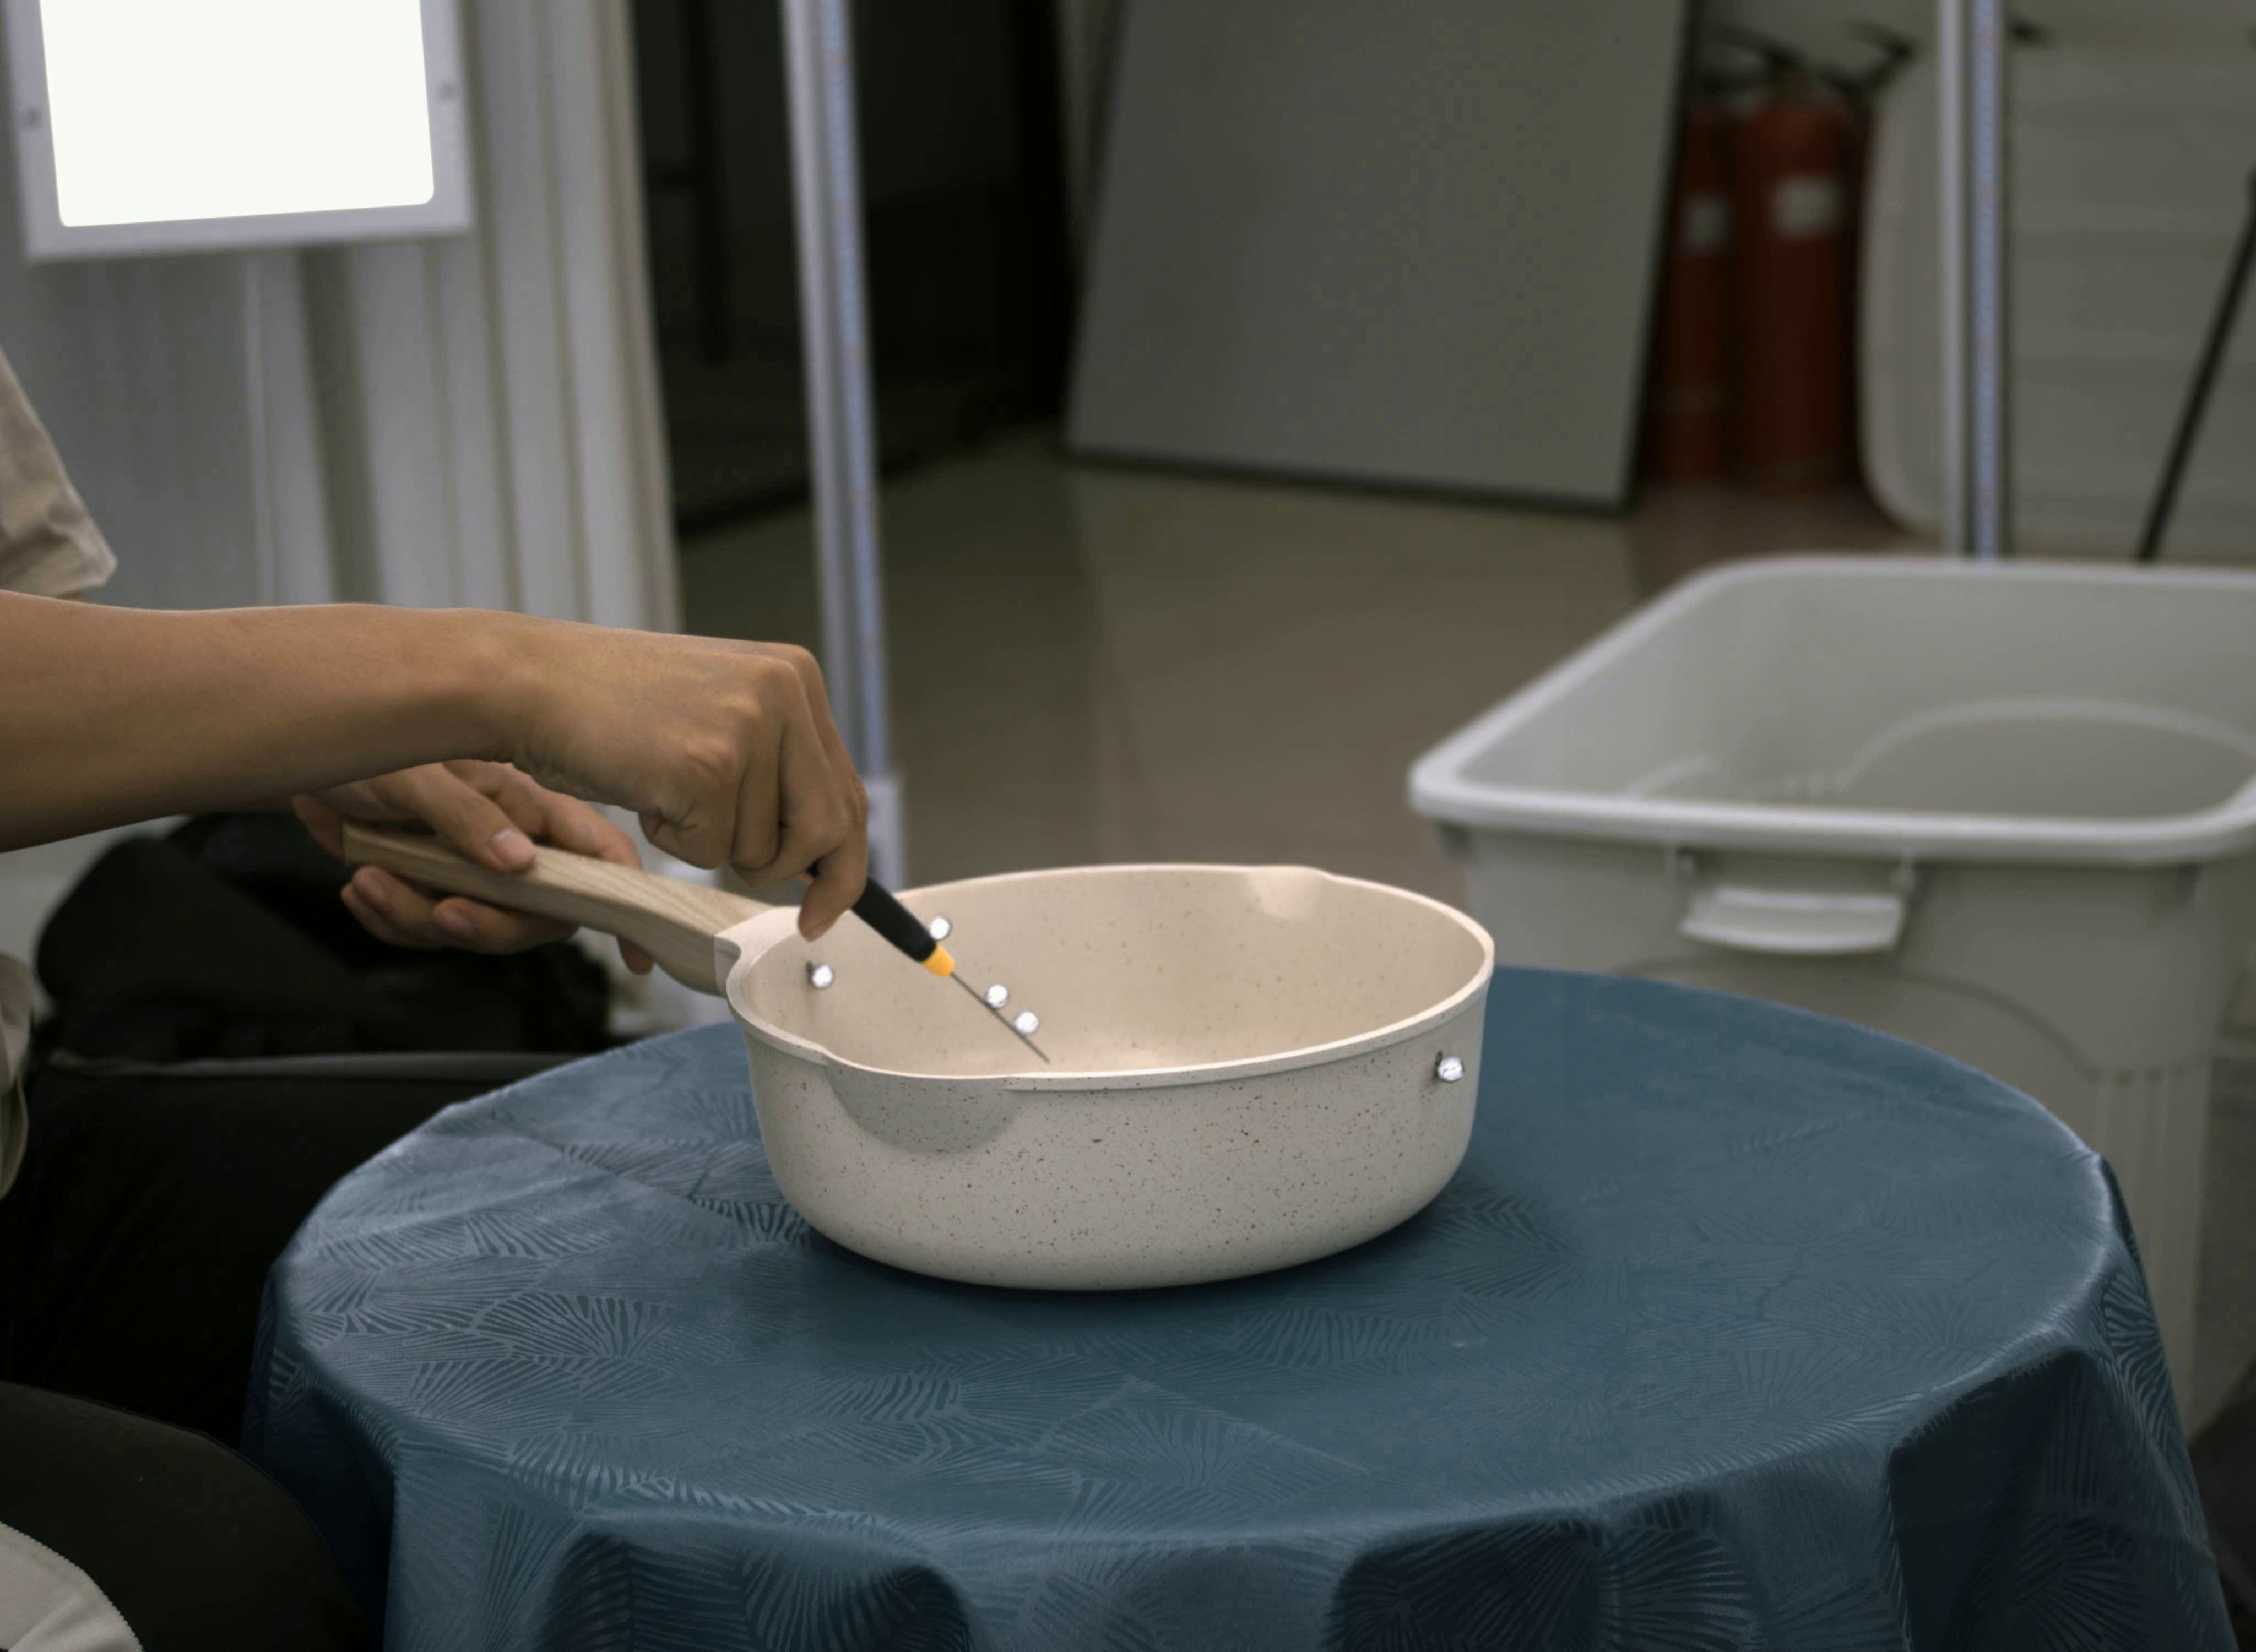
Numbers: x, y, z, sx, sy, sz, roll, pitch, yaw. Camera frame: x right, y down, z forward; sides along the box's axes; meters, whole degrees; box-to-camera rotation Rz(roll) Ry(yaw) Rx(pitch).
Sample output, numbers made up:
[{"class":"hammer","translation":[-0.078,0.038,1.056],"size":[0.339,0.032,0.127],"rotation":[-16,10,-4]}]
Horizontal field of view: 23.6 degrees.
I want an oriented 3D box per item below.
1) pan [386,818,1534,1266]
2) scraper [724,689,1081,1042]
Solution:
[{"class":"pan","translation":[-0.067,0.060,1.818],"size":[0.437,0.103,0.259],"rotation":[4,18,31]},{"class":"scraper","translation":[-0.072,0.013,1.750],"size":[0.015,0.169,0.039],"rotation":[-43,29,4]}]
